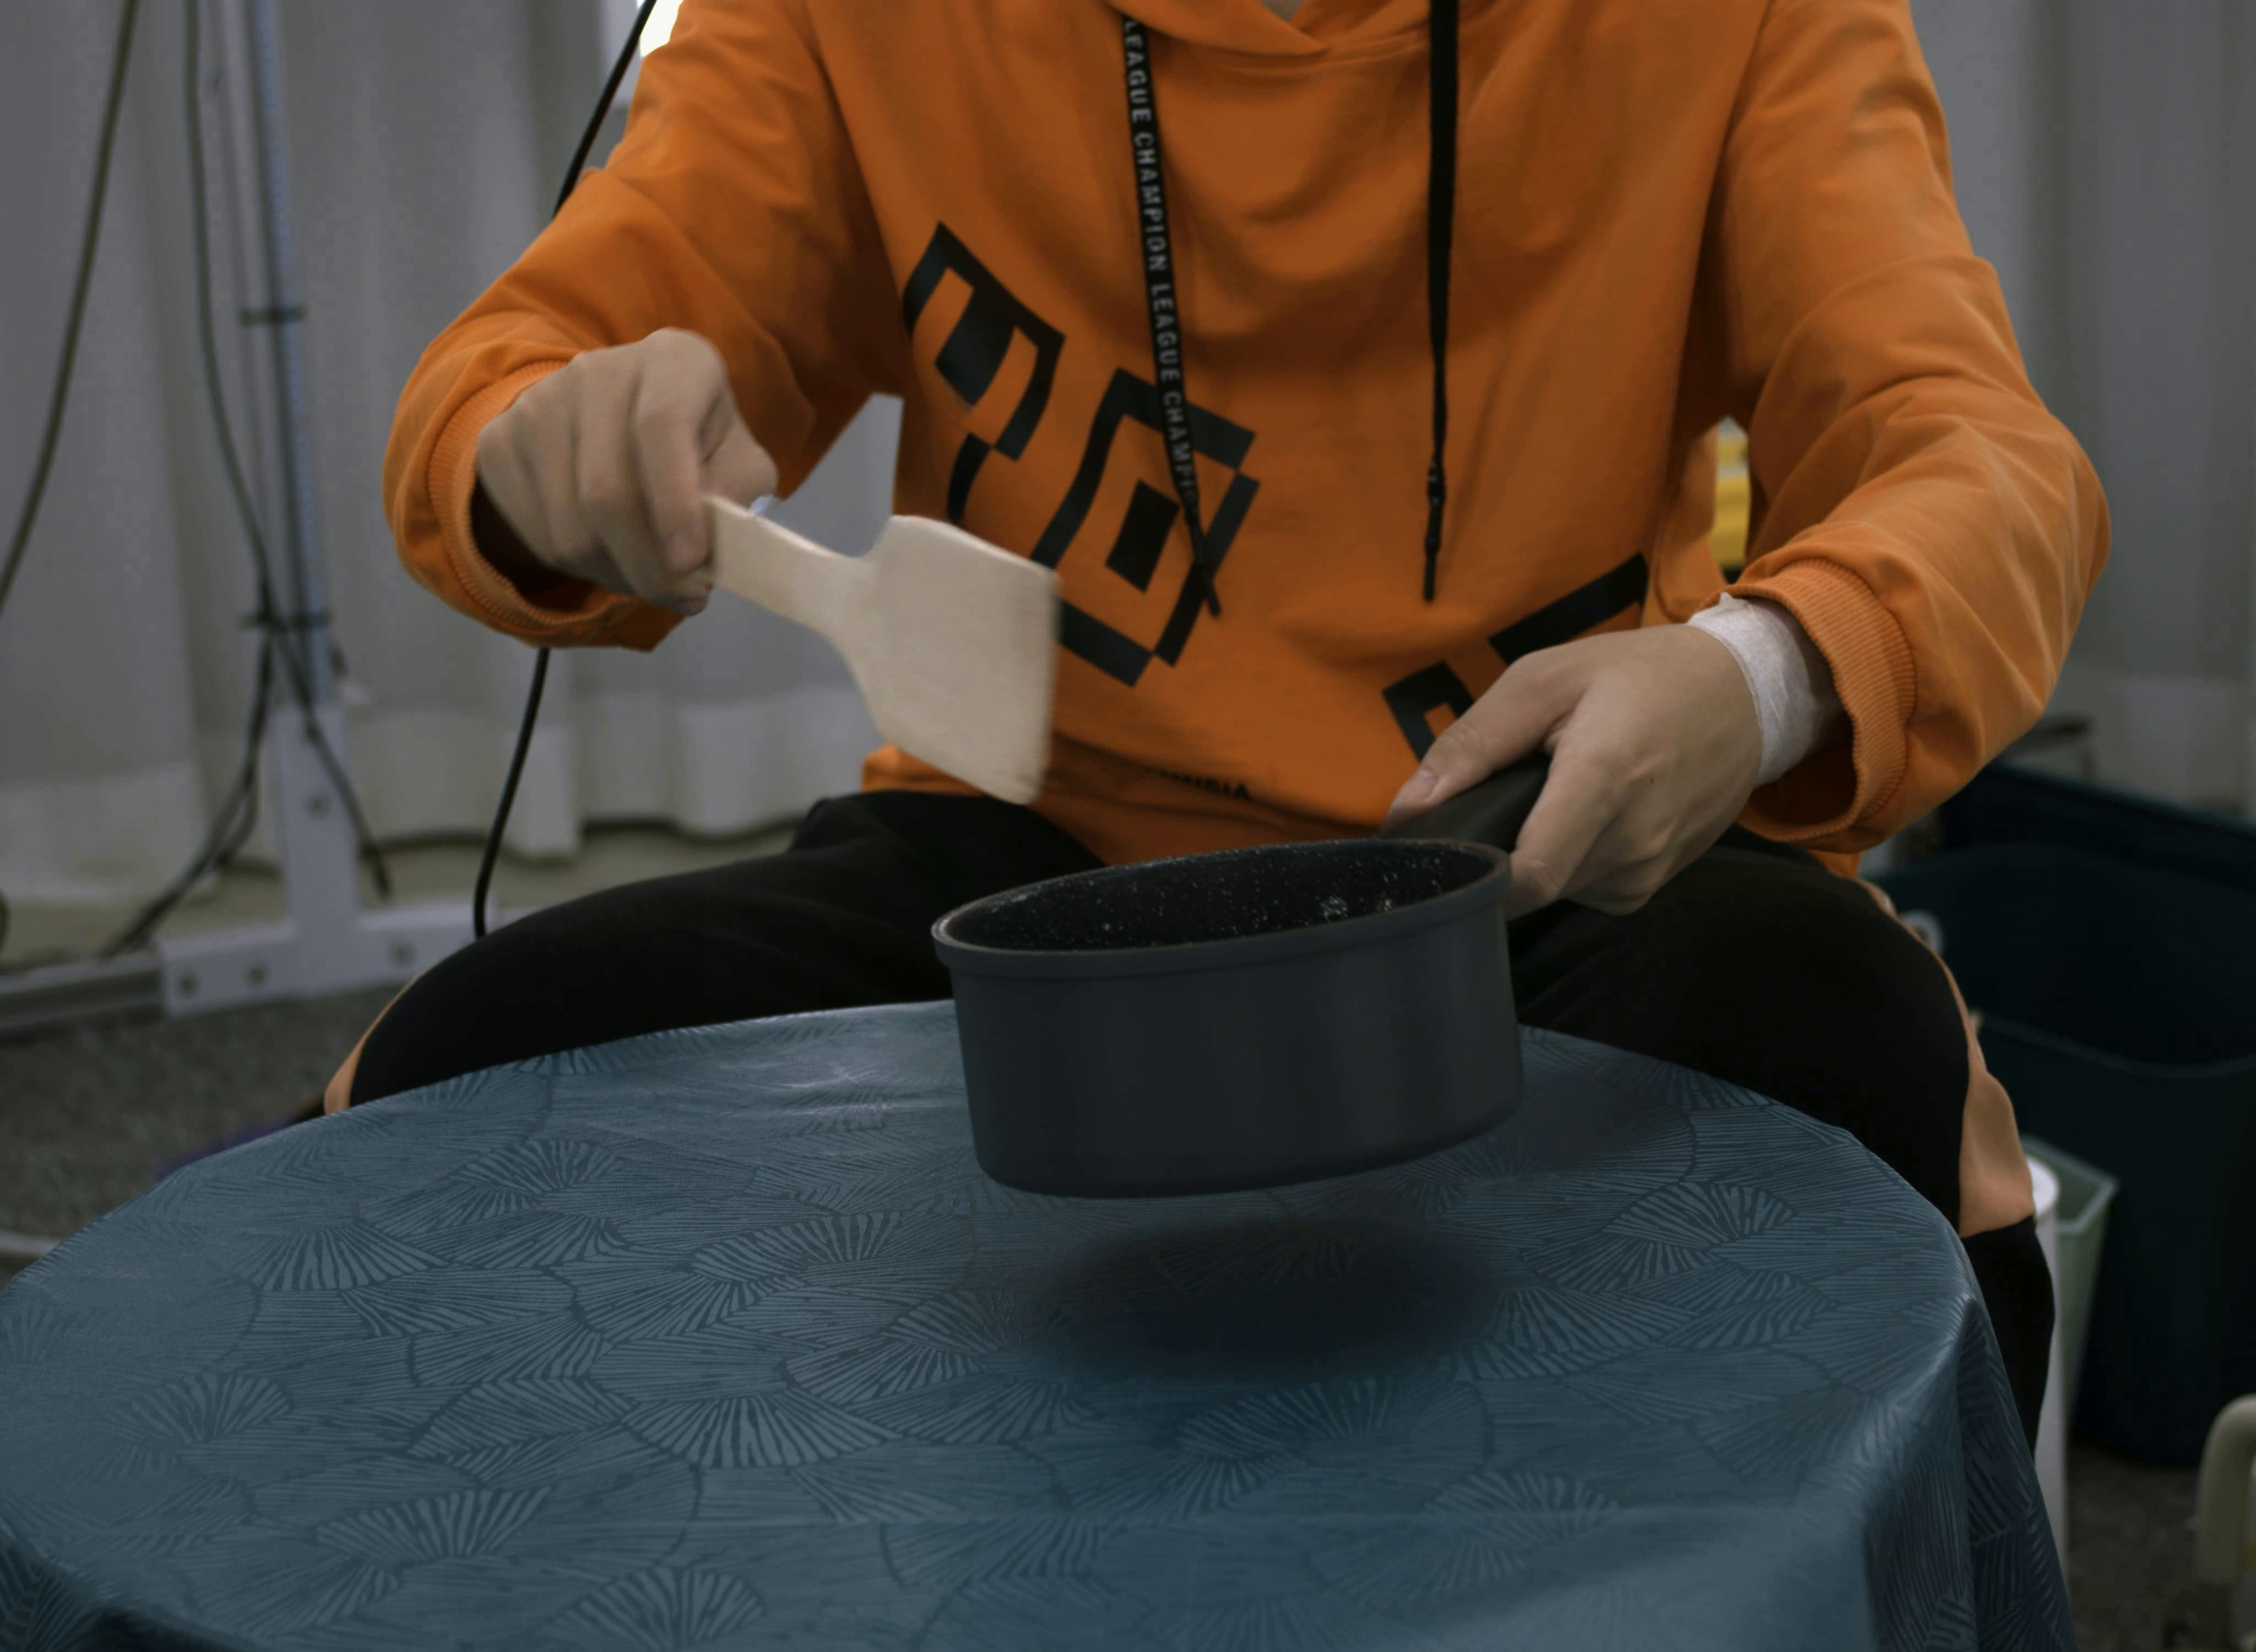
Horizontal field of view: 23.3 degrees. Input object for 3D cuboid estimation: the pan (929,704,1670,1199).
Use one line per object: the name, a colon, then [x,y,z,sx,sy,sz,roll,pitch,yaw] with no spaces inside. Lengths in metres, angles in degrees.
pan: [0.075,0.037,1.667,0.172,0.086,0.328,-1,12,35]

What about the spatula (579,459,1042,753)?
spatula: [-0.103,-0.082,1.672,0.010,0.072,0.295,-6,14,-30]
